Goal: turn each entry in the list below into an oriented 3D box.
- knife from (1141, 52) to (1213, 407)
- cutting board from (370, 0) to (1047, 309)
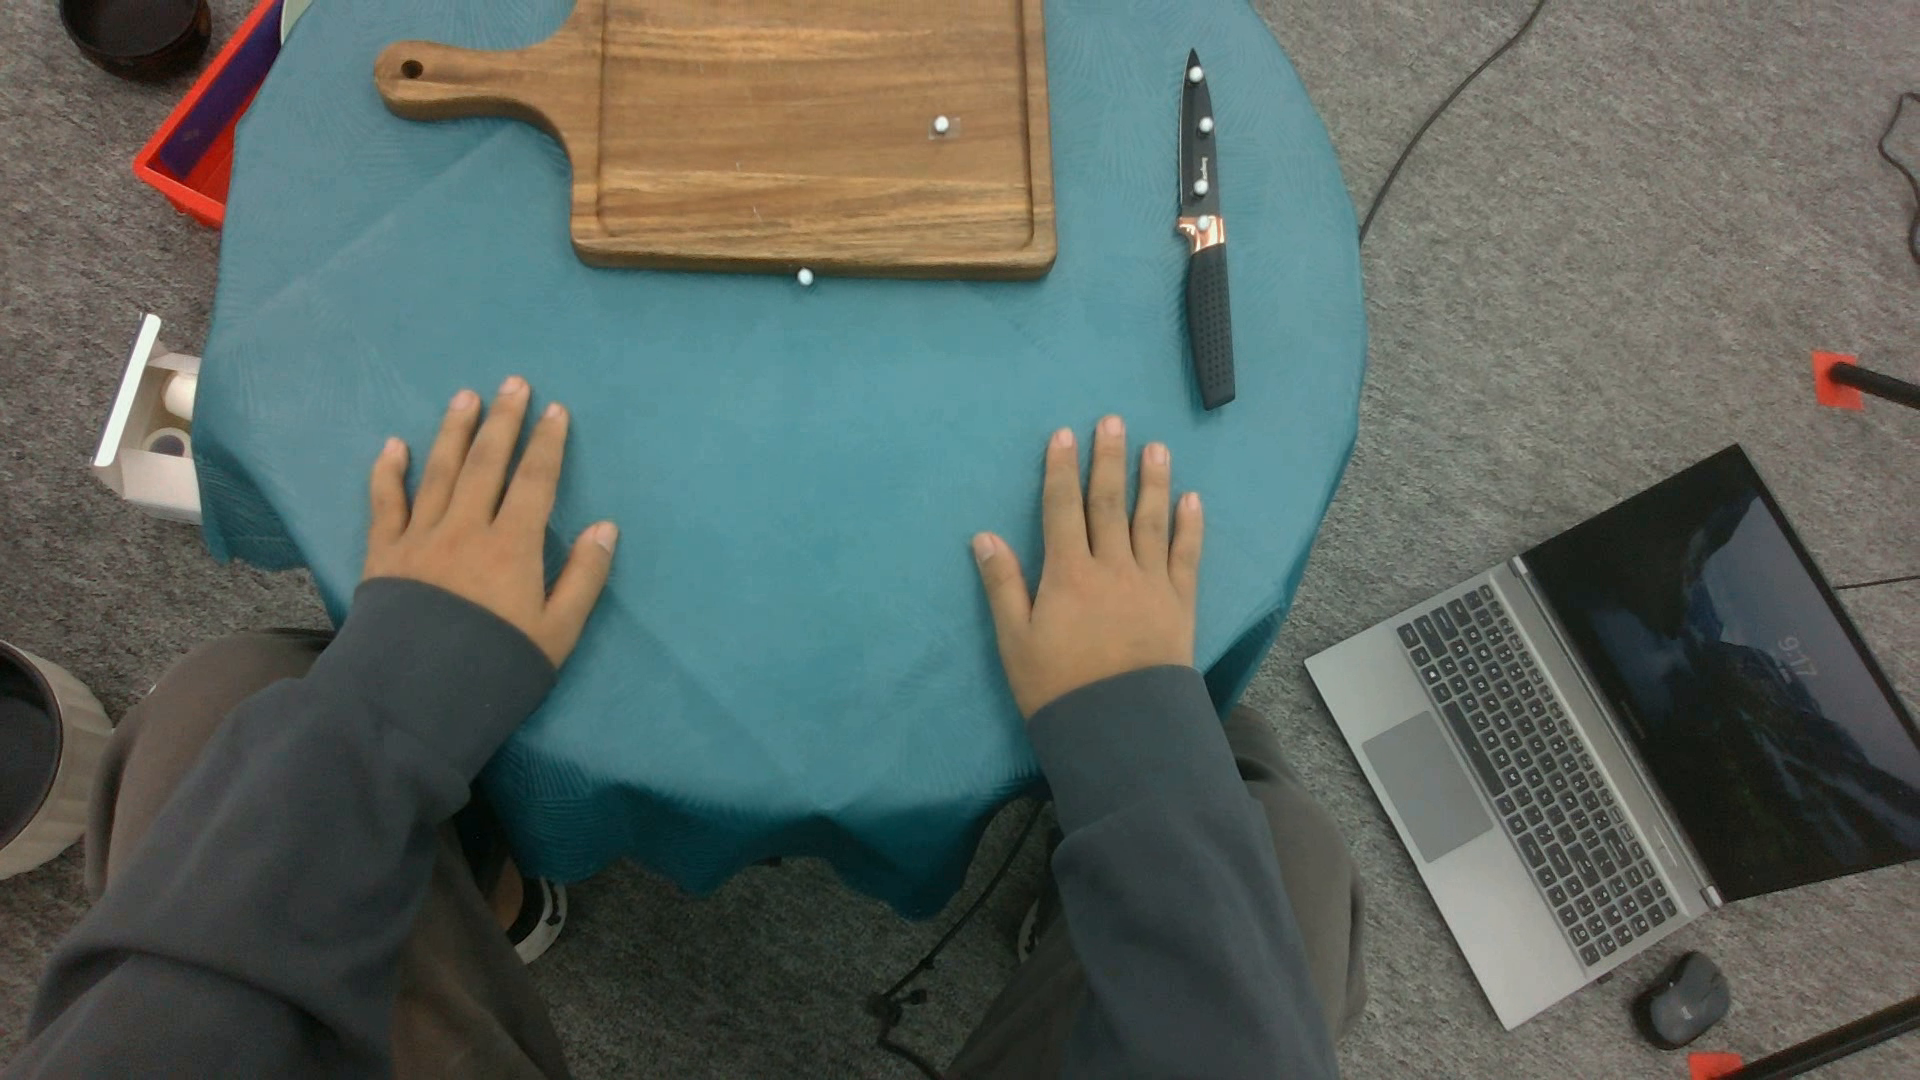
[{"bbox_3d":[0.122,-0.180,0.776,0.026,0.017,0.226,-2,72,-3],"label":"knife"},{"bbox_3d":[-0.136,-0.222,0.752,0.352,0.023,0.201,-3,73,-8],"label":"cutting board"}]
